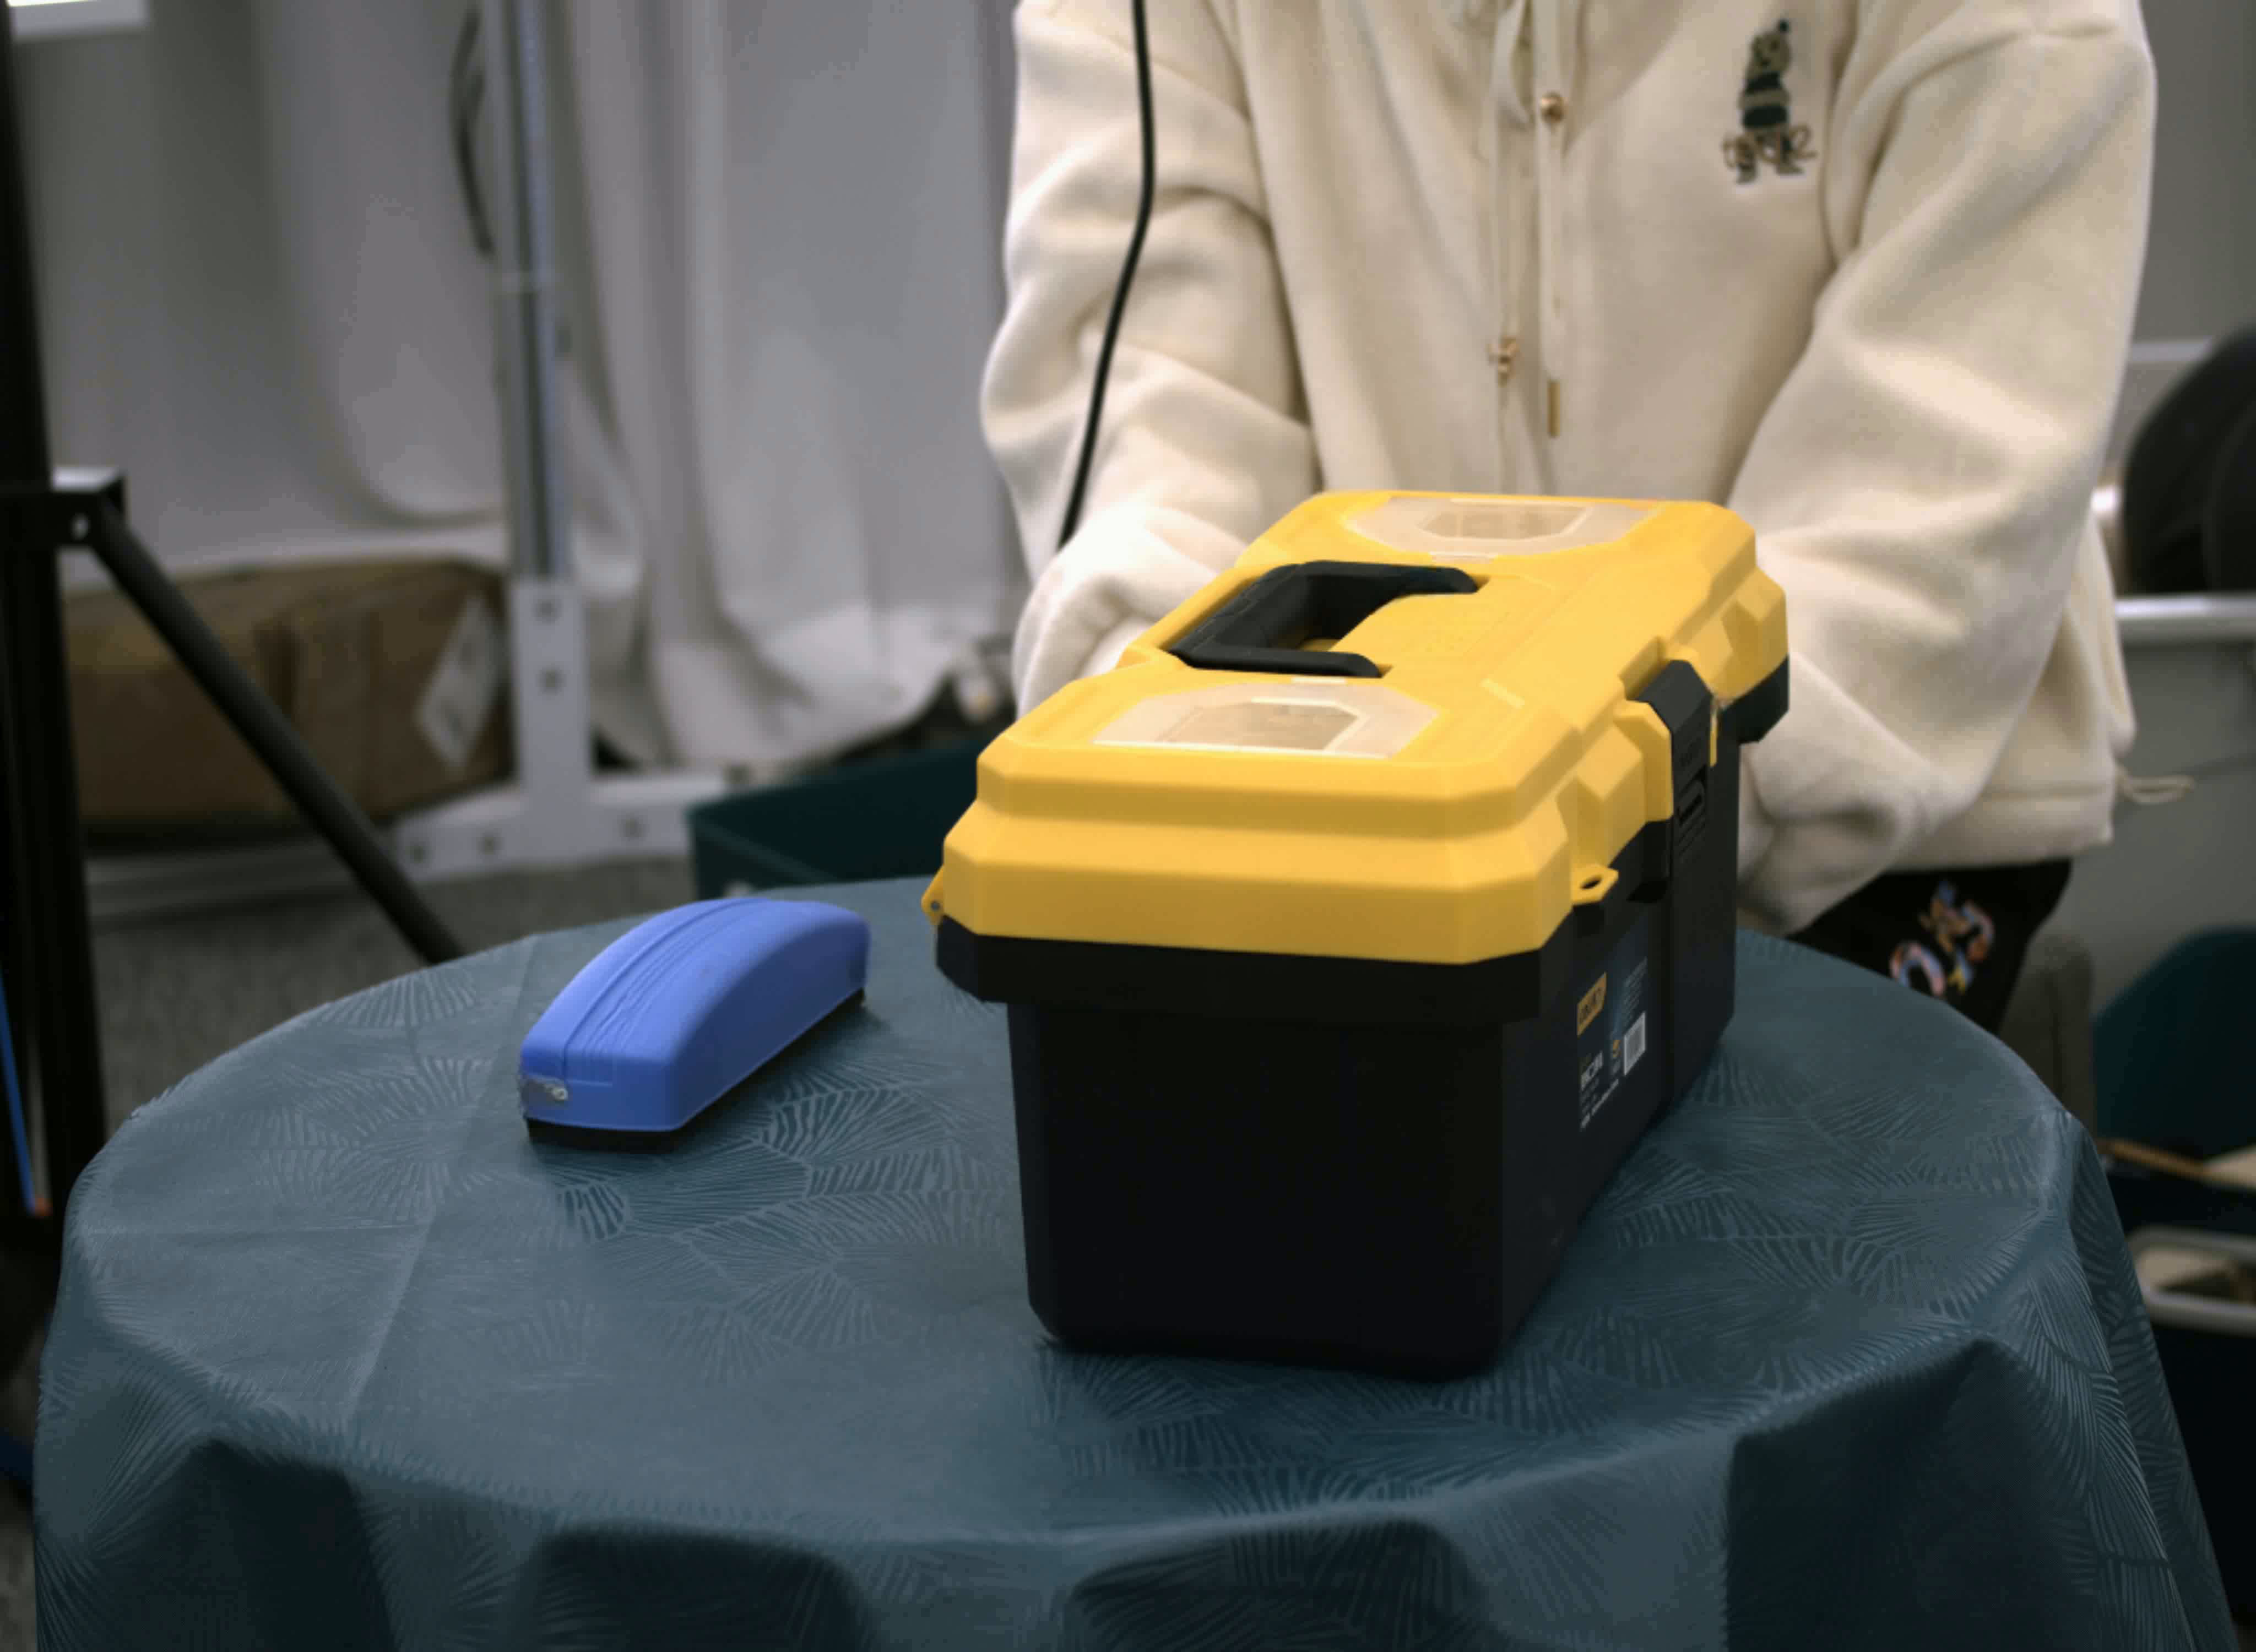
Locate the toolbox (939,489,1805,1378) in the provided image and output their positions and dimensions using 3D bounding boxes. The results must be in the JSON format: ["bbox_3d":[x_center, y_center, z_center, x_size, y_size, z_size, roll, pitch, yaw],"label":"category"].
[{"bbox_3d":[0.080,0.021,1.533,0.183,0.173,0.347,2,16,19],"label":"toolbox"}]

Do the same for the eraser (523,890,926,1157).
[{"bbox_3d":[-0.125,0.055,1.670,0.055,0.047,0.159,5,19,31],"label":"eraser"}]
